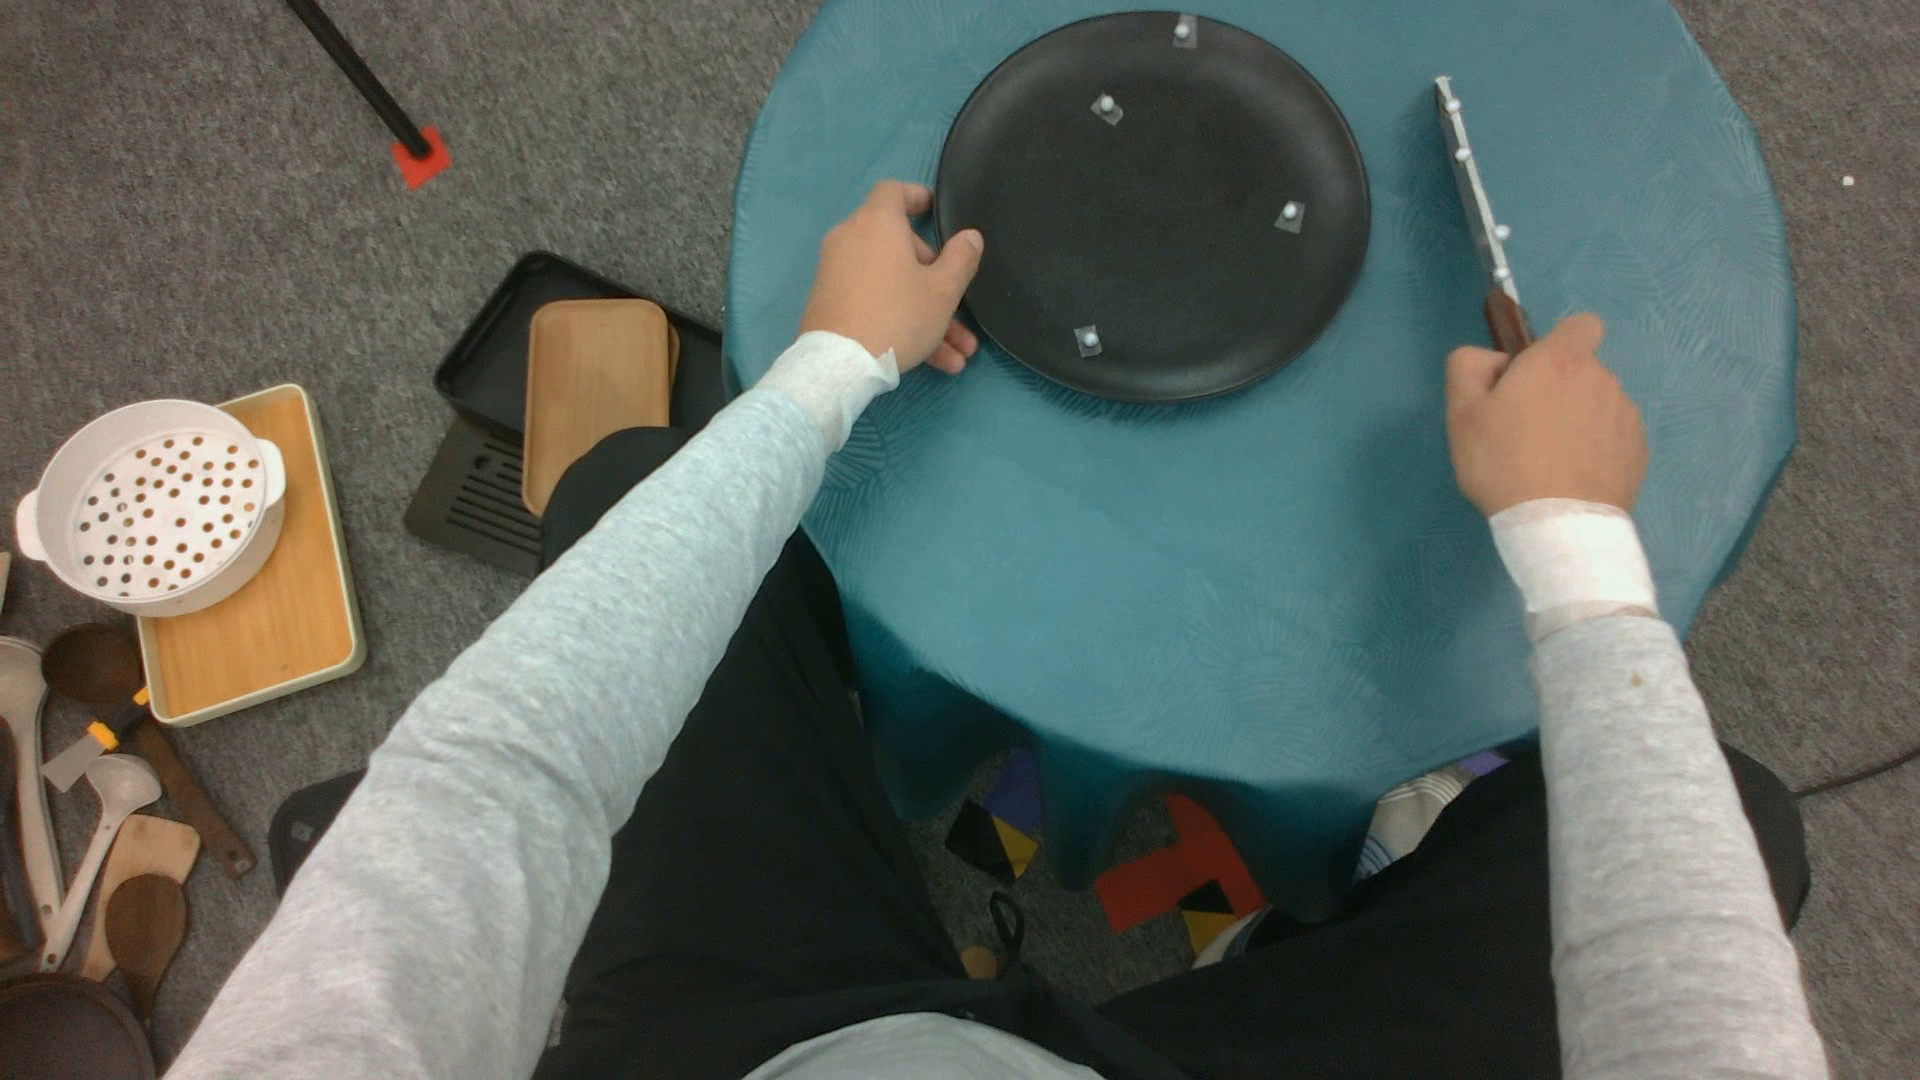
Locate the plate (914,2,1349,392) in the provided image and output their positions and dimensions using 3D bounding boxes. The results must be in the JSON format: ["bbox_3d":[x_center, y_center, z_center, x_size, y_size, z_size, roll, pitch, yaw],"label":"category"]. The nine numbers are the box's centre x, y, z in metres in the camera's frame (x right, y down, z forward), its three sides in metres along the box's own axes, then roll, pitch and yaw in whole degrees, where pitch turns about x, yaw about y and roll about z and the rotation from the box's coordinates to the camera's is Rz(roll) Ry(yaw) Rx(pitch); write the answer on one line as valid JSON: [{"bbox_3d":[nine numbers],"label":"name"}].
[{"bbox_3d":[0.096,-0.194,0.779,0.244,0.023,0.245,0,75,0],"label":"plate"}]

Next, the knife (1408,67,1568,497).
[{"bbox_3d":[0.277,-0.149,0.741,0.020,0.050,0.290,-25,57,34],"label":"knife"}]
